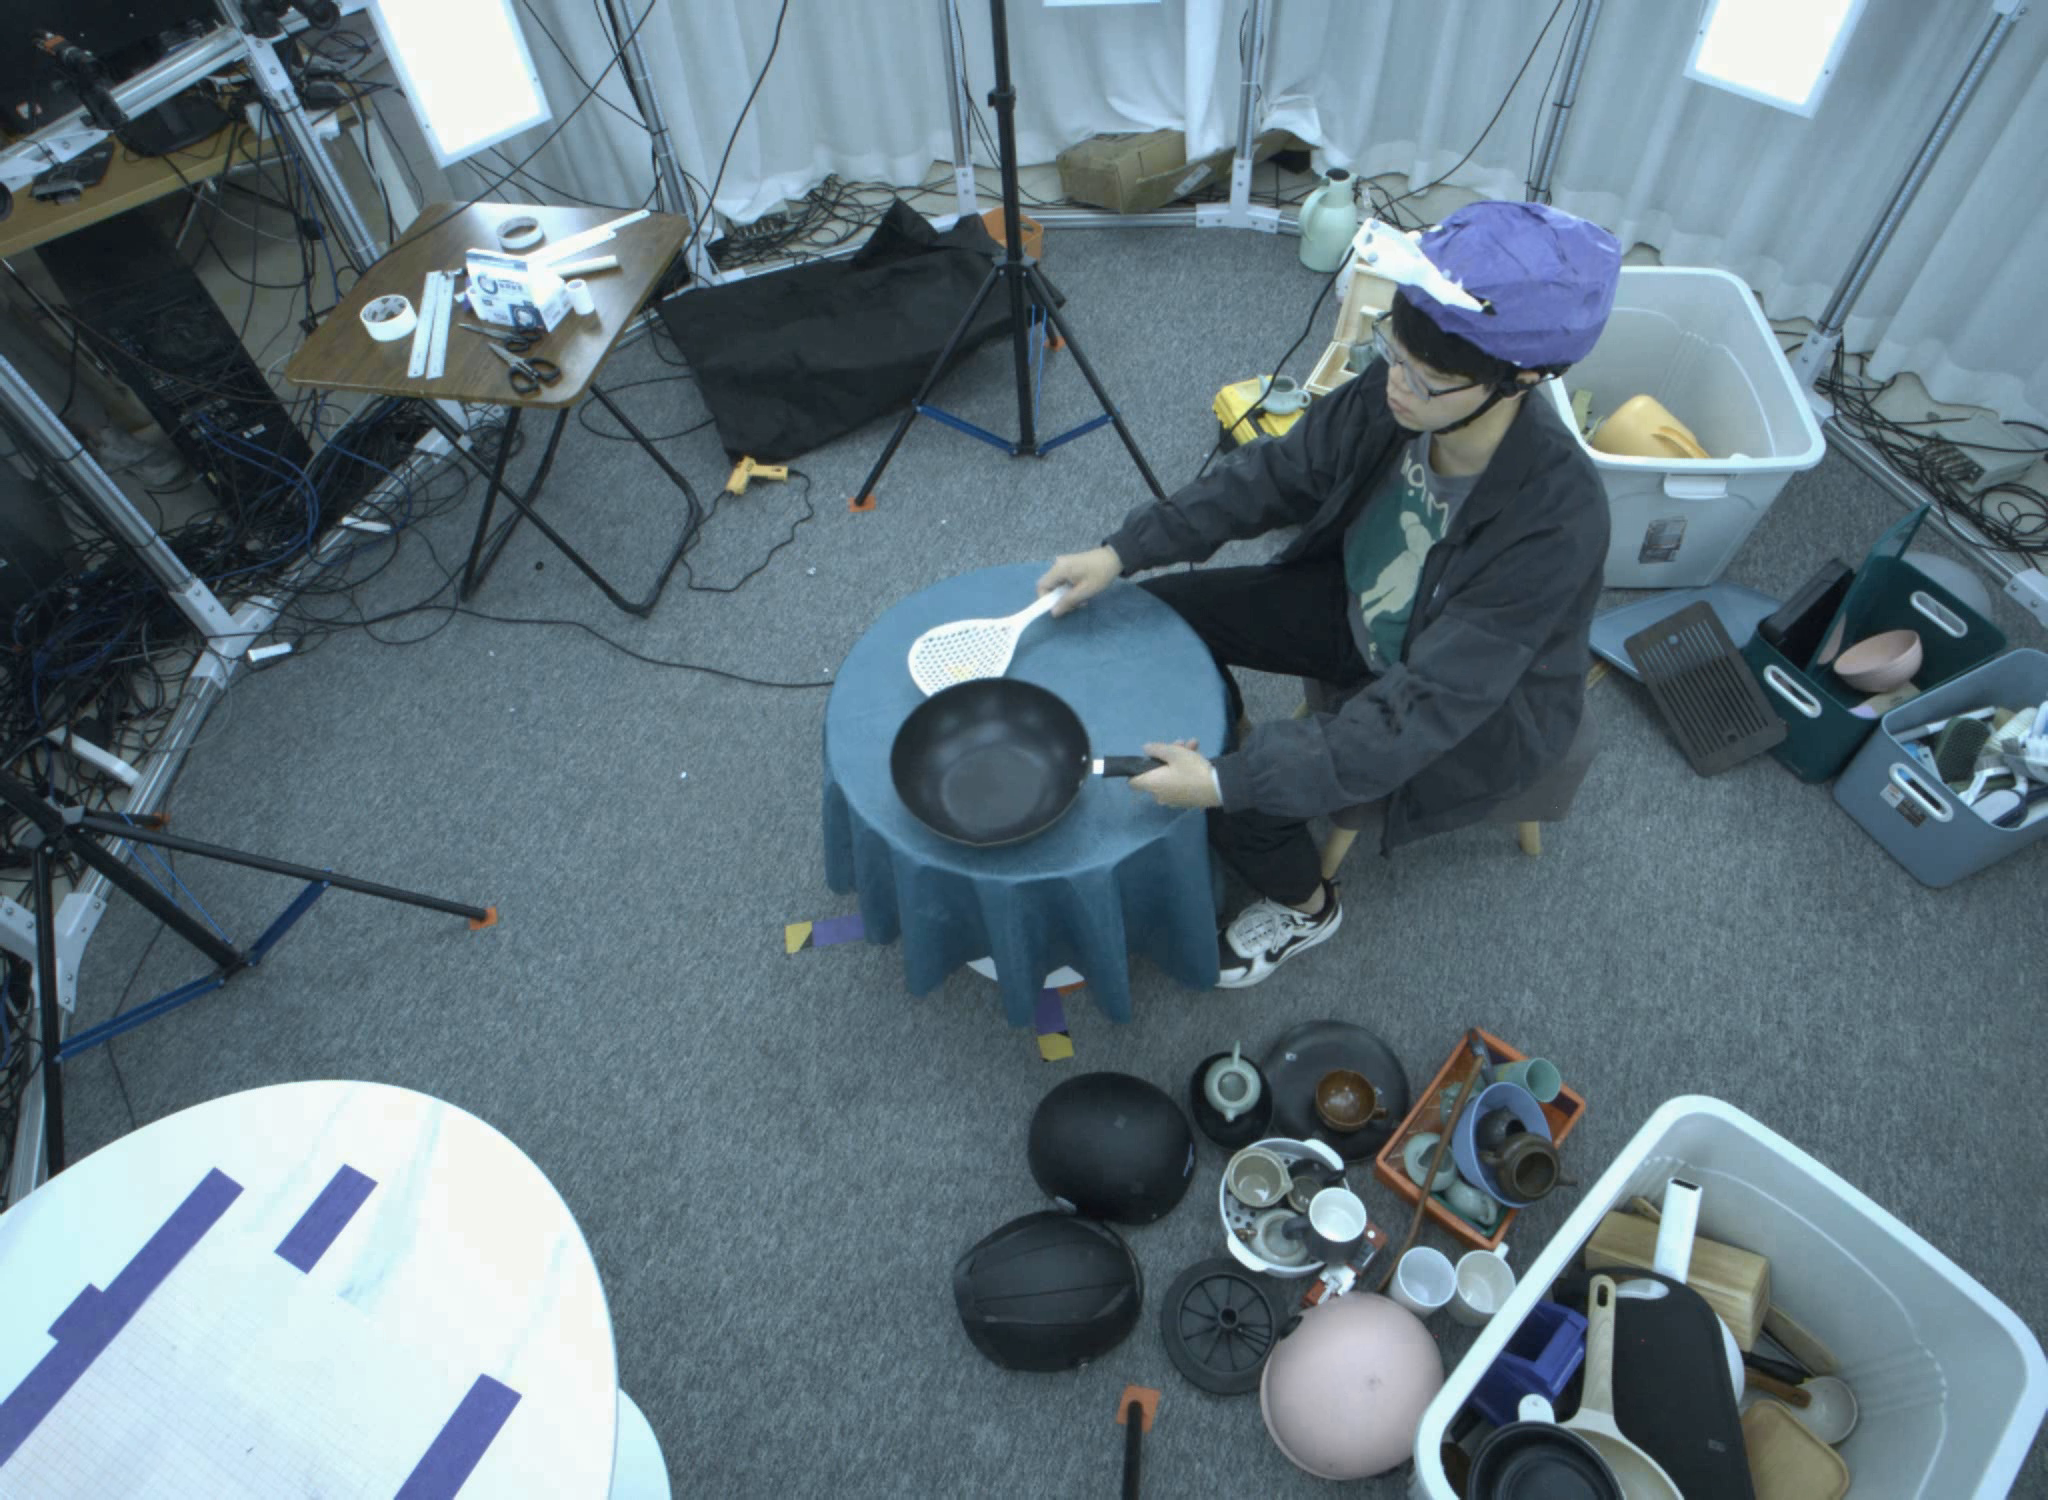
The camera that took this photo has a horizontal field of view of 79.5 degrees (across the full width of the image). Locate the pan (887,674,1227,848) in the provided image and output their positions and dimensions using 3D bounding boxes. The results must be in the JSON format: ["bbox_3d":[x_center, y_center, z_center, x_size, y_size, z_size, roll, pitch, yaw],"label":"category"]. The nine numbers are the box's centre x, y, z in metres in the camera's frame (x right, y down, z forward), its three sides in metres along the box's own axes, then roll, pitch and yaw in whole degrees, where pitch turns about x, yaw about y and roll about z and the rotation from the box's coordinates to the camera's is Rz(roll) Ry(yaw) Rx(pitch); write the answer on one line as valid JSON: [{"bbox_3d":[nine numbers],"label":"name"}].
[{"bbox_3d":[0.045,0.035,1.702,0.462,0.088,0.286,4,55,3],"label":"pan"}]

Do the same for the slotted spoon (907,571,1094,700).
[{"bbox_3d":[-0.021,-0.183,1.872,0.350,0.050,0.135,-37,75,-17],"label":"slotted spoon"}]
